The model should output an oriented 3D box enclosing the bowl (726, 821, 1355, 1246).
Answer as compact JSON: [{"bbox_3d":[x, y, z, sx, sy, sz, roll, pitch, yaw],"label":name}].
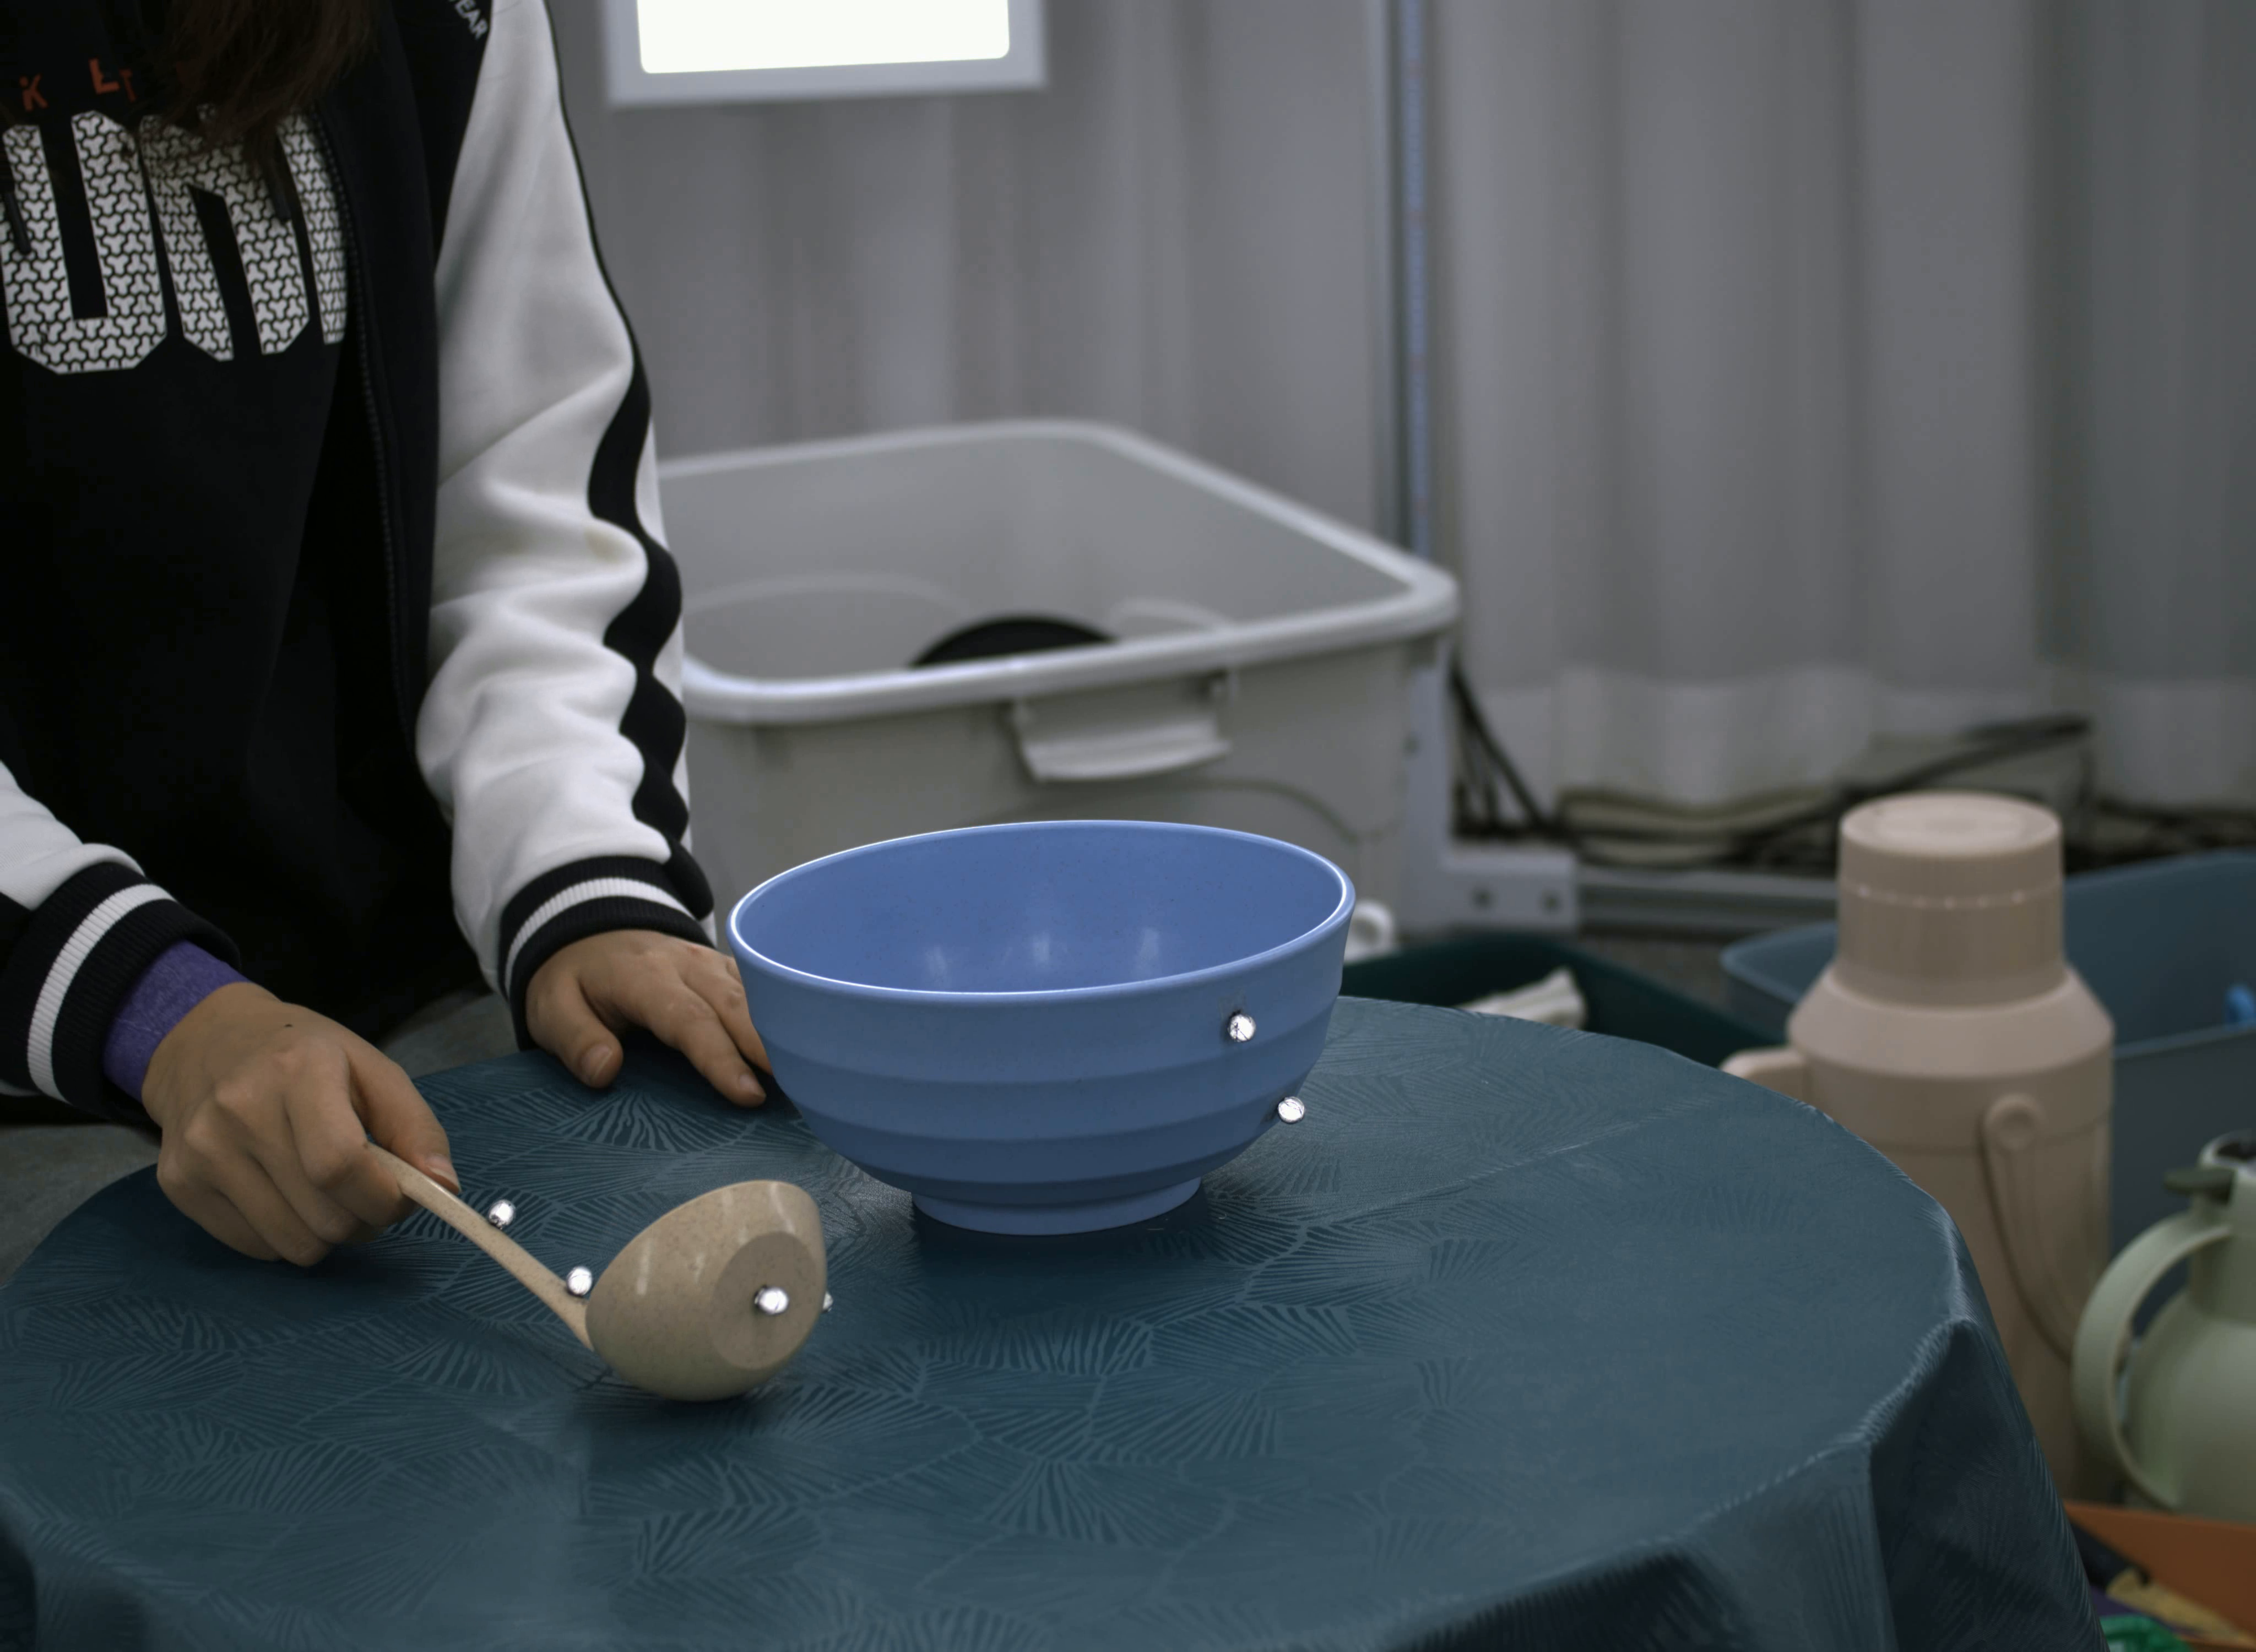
[{"bbox_3d":[-0.024,0.071,1.710,0.196,0.095,0.198,-4,15,1],"label":"bowl"}]

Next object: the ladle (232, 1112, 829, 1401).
[{"bbox_3d":[-0.183,0.098,1.616,0.071,0.073,0.256,6,13,-45],"label":"ladle"}]
